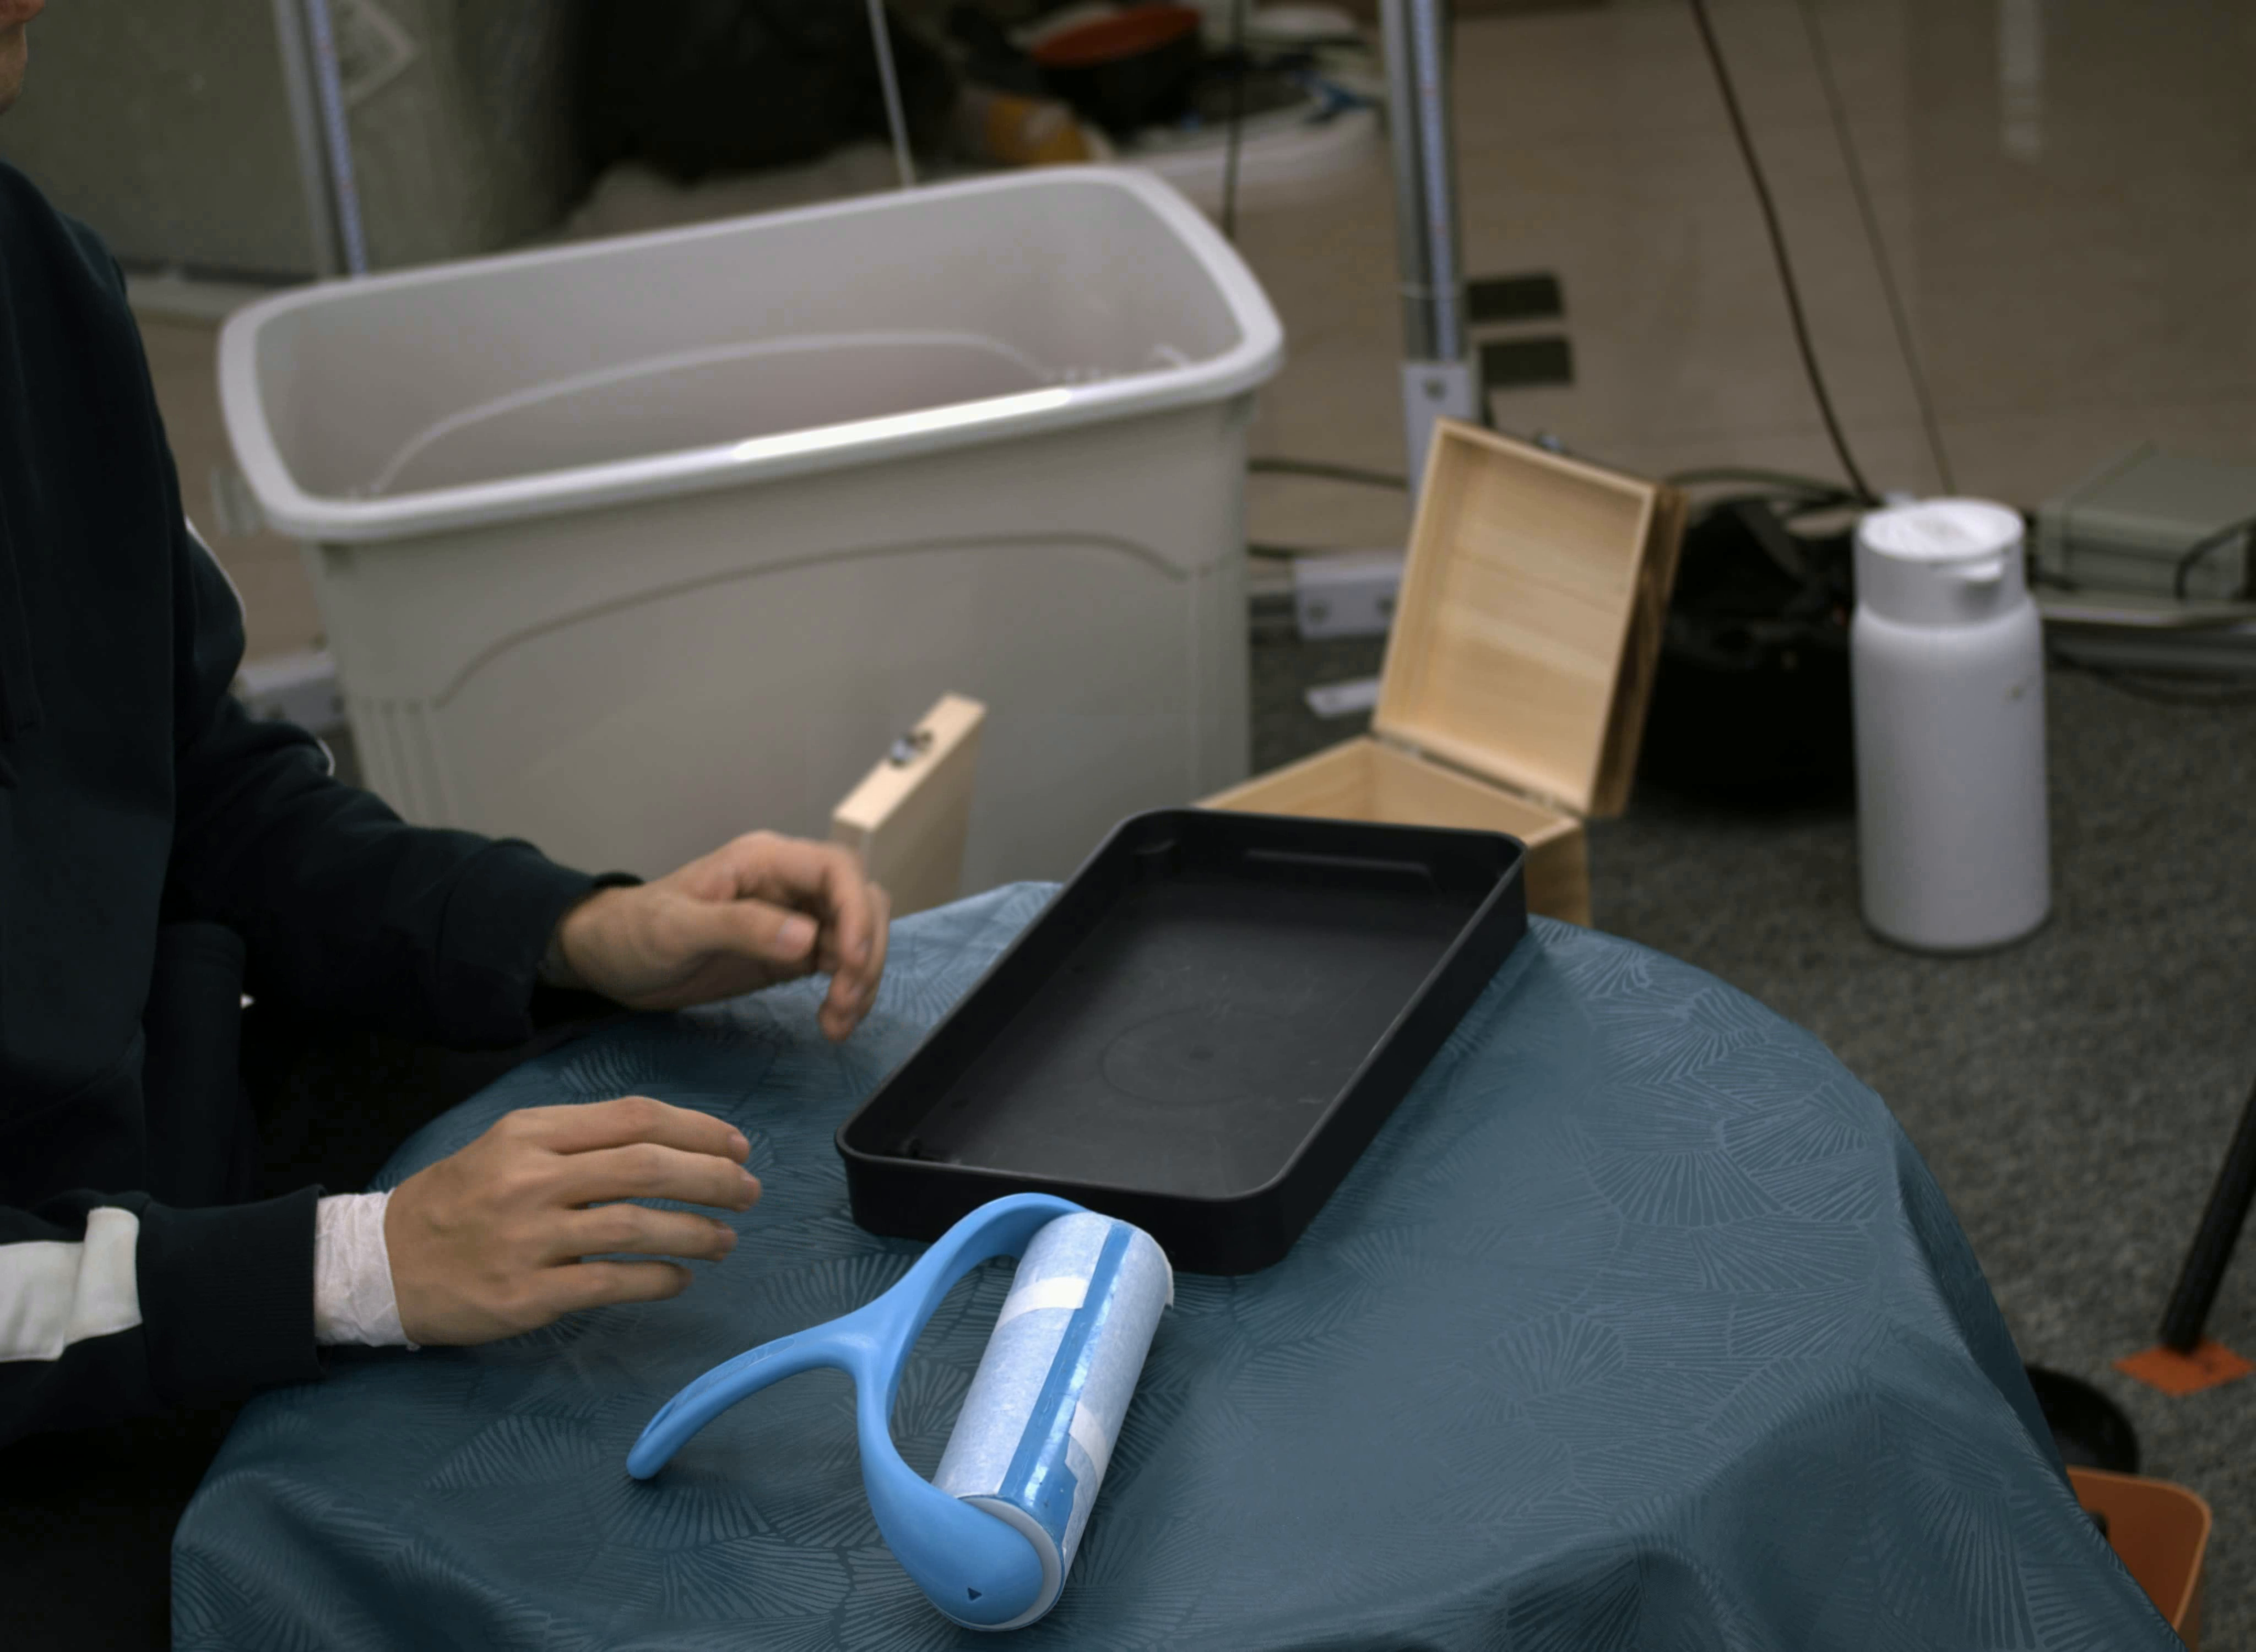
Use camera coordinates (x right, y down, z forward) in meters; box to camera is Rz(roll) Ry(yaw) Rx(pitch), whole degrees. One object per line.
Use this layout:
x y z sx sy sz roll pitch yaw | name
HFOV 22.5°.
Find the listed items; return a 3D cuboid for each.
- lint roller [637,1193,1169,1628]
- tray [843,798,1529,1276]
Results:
-0.087 0.201 1.963 0.180 0.069 0.225 -1 27 9 | lint roller
0.030 0.077 2.229 0.184 0.037 0.313 4 28 22 | tray
